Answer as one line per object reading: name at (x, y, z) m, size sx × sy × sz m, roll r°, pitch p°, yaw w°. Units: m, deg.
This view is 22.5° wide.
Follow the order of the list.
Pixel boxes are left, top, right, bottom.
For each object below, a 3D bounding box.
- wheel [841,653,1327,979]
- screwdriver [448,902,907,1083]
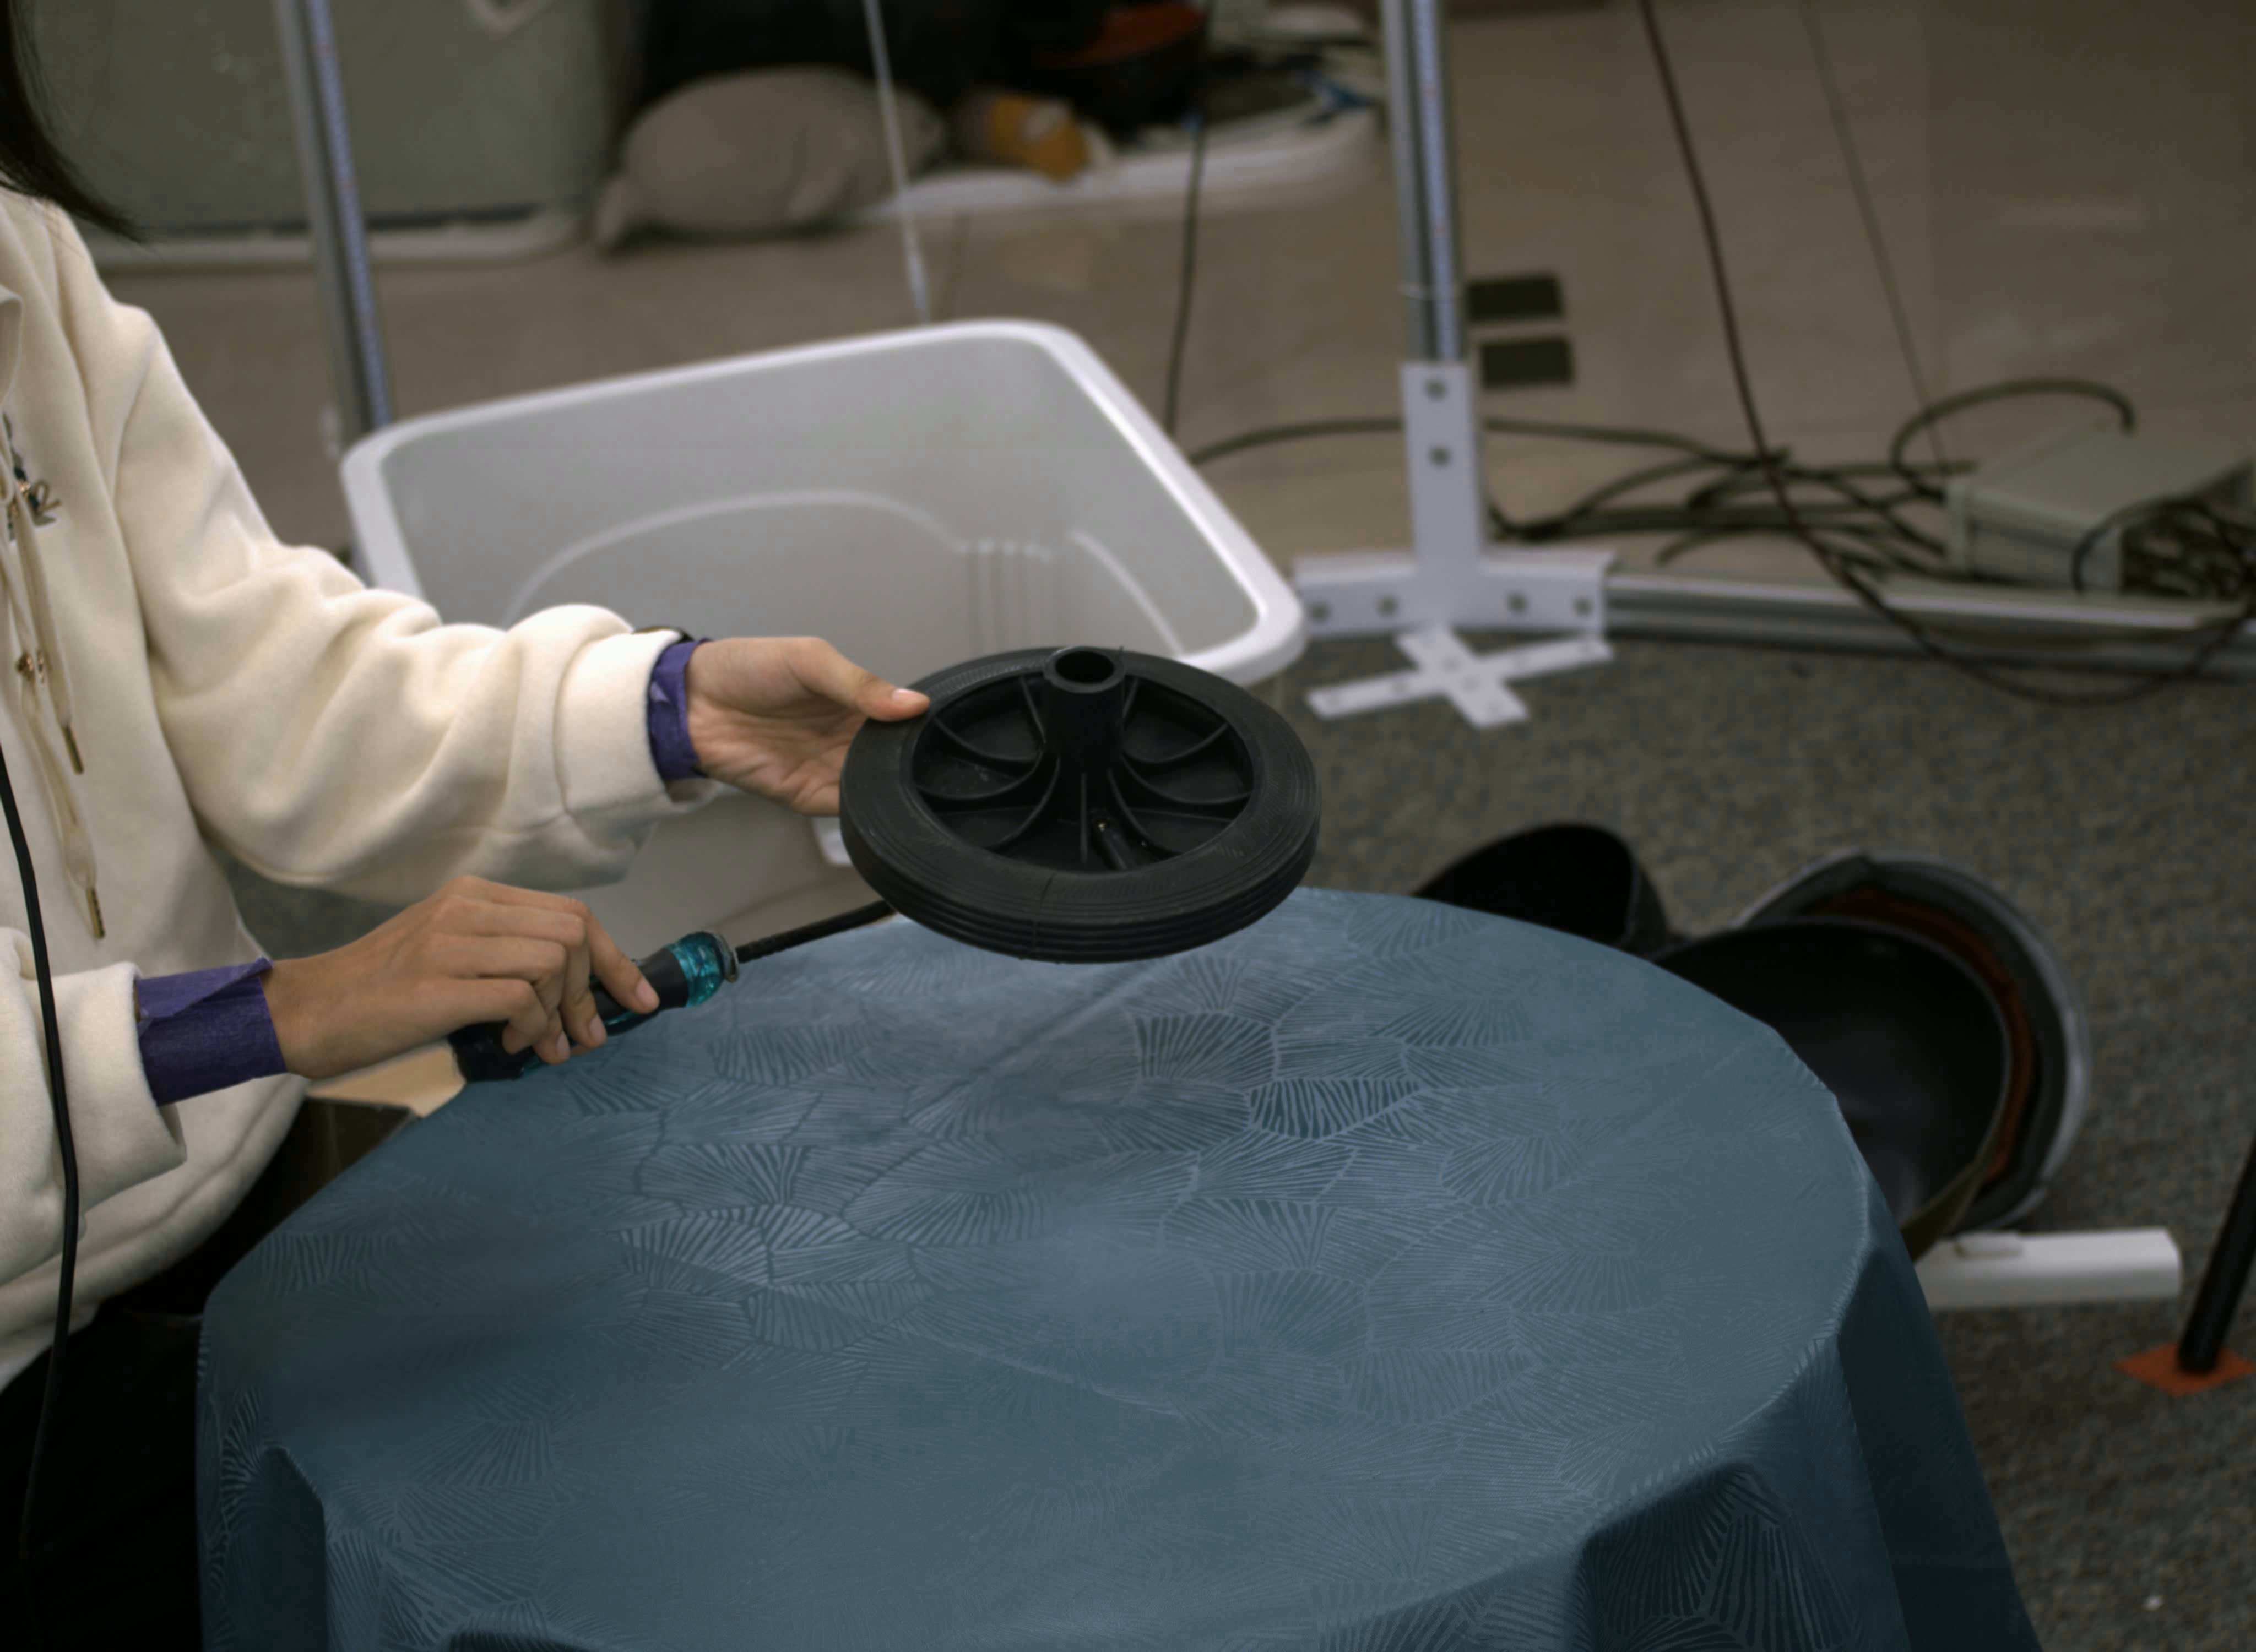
wheel at (-0.016, -0.023, 2.193) m, size 0.186 × 0.080 × 0.188 m, roll -29°, pitch 50°, yaw -35°
screwdriver at (-0.164, 0.057, 2.105) m, size 0.189 × 0.034 × 0.033 m, roll -18°, pitch 28°, yaw -27°
